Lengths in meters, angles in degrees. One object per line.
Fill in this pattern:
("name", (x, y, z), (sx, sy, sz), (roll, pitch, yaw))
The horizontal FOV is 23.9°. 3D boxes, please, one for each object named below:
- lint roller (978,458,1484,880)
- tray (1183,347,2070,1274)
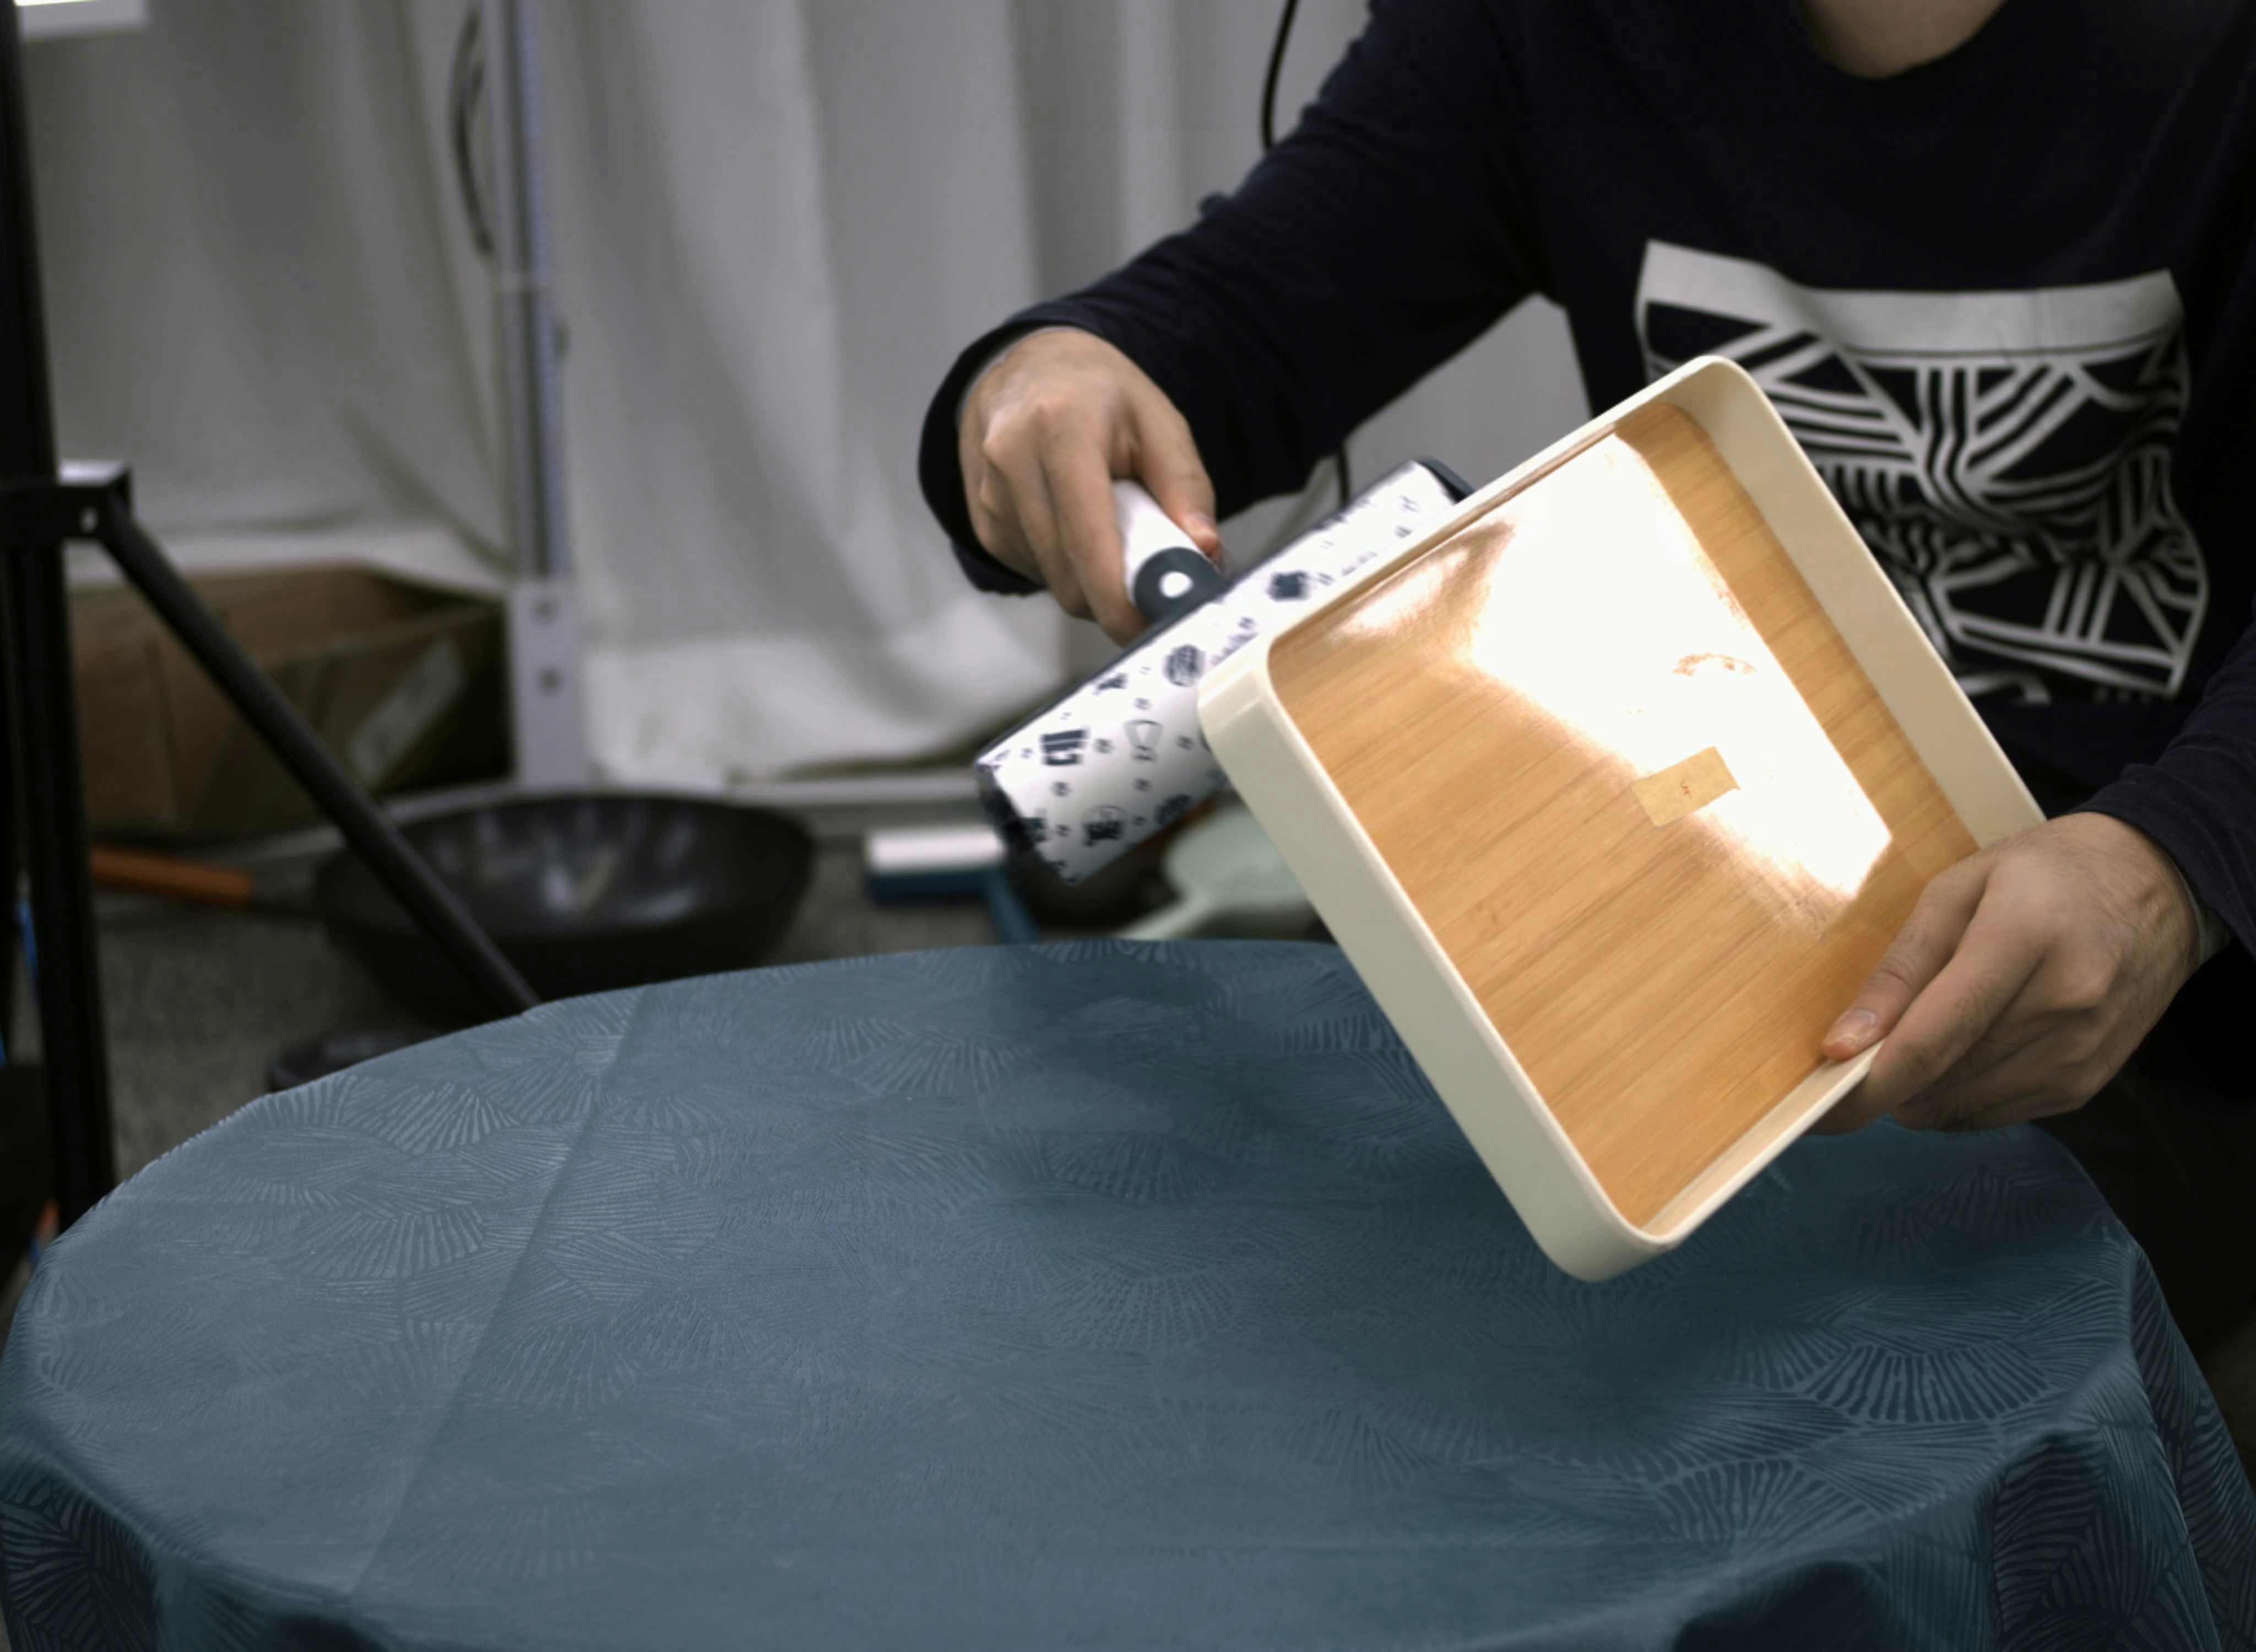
("lint roller", (0.011, -0.078, 1.696), (0.176, 0.050, 0.251), (-35, 24, -2))
("tray", (0.145, -0.012, 1.452), (0.028, 0.192, 0.295), (-38, -4, 38))
